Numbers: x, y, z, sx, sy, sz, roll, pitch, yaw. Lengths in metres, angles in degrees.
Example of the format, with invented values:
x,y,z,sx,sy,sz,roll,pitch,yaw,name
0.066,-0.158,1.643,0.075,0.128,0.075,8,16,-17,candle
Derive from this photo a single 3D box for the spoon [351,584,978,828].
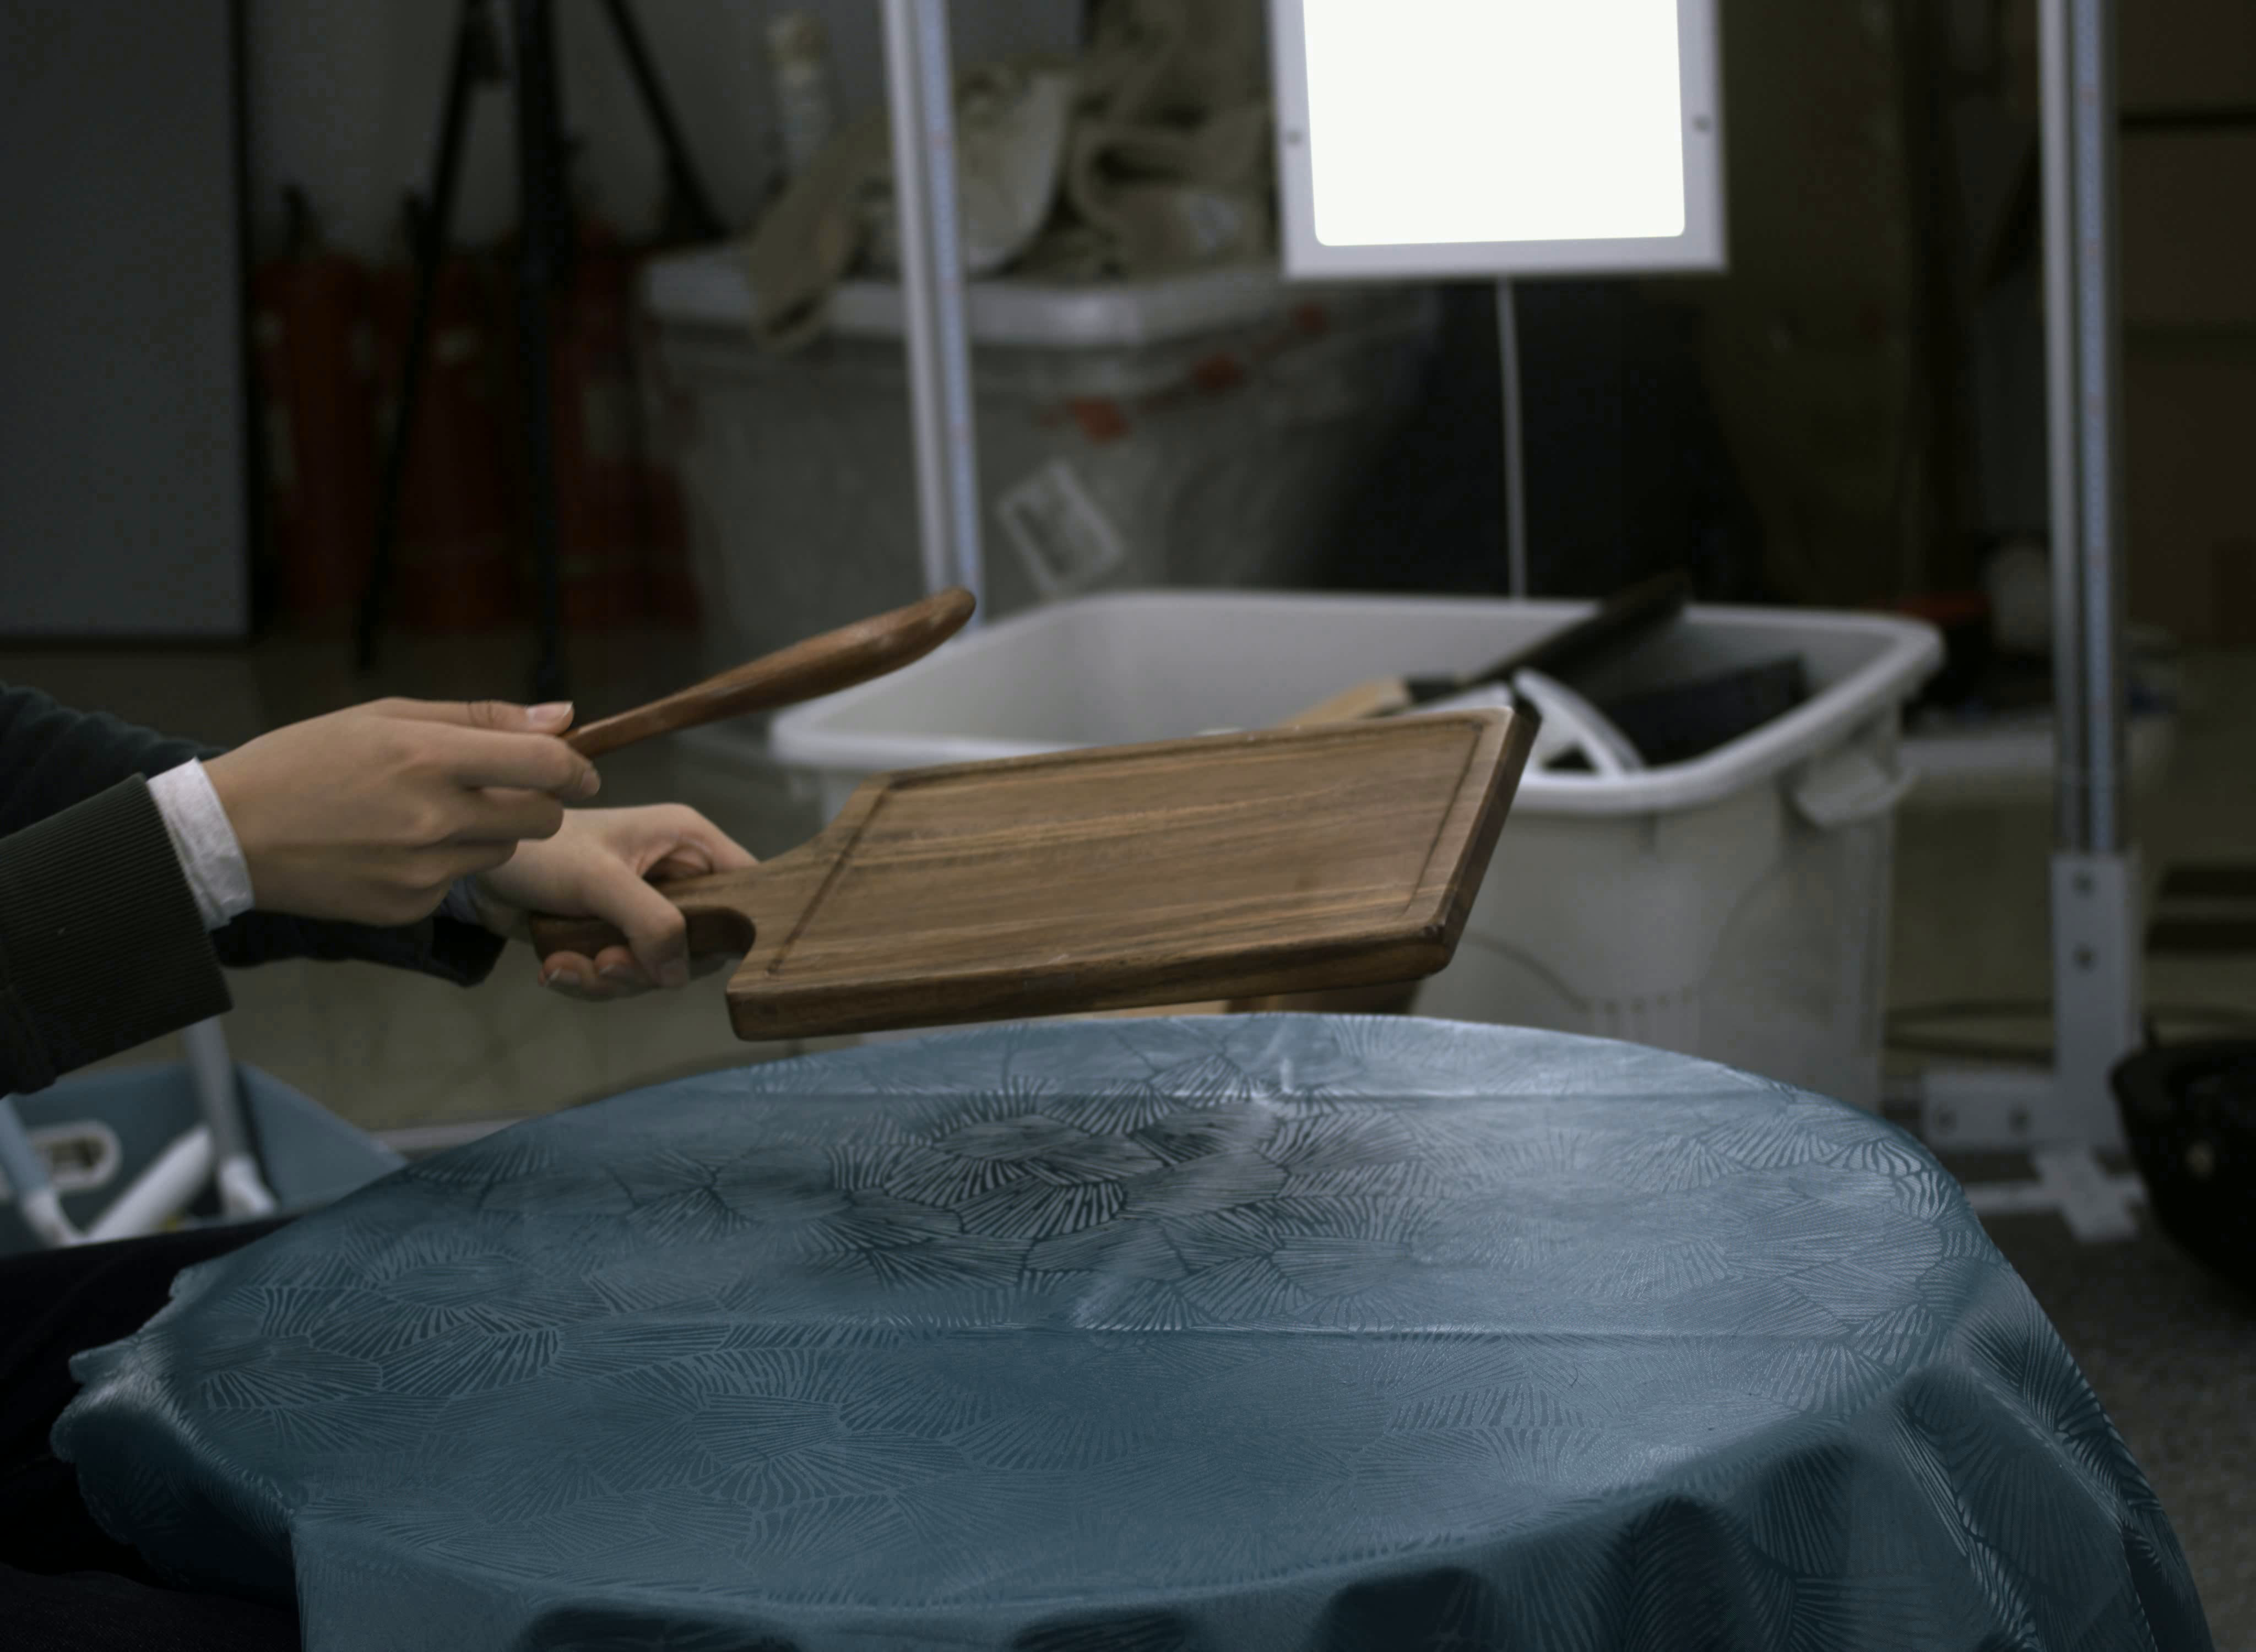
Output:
x,y,z,sx,sy,sz,roll,pitch,yaw,name
-0.149,-0.039,1.795,0.214,0.017,0.076,-19,12,-4,spoon

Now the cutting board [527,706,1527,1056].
x,y,z,sx,sy,sz,roll,pitch,yaw,name
-0.044,0.022,1.917,0.356,0.023,0.198,-6,23,18,cutting board
